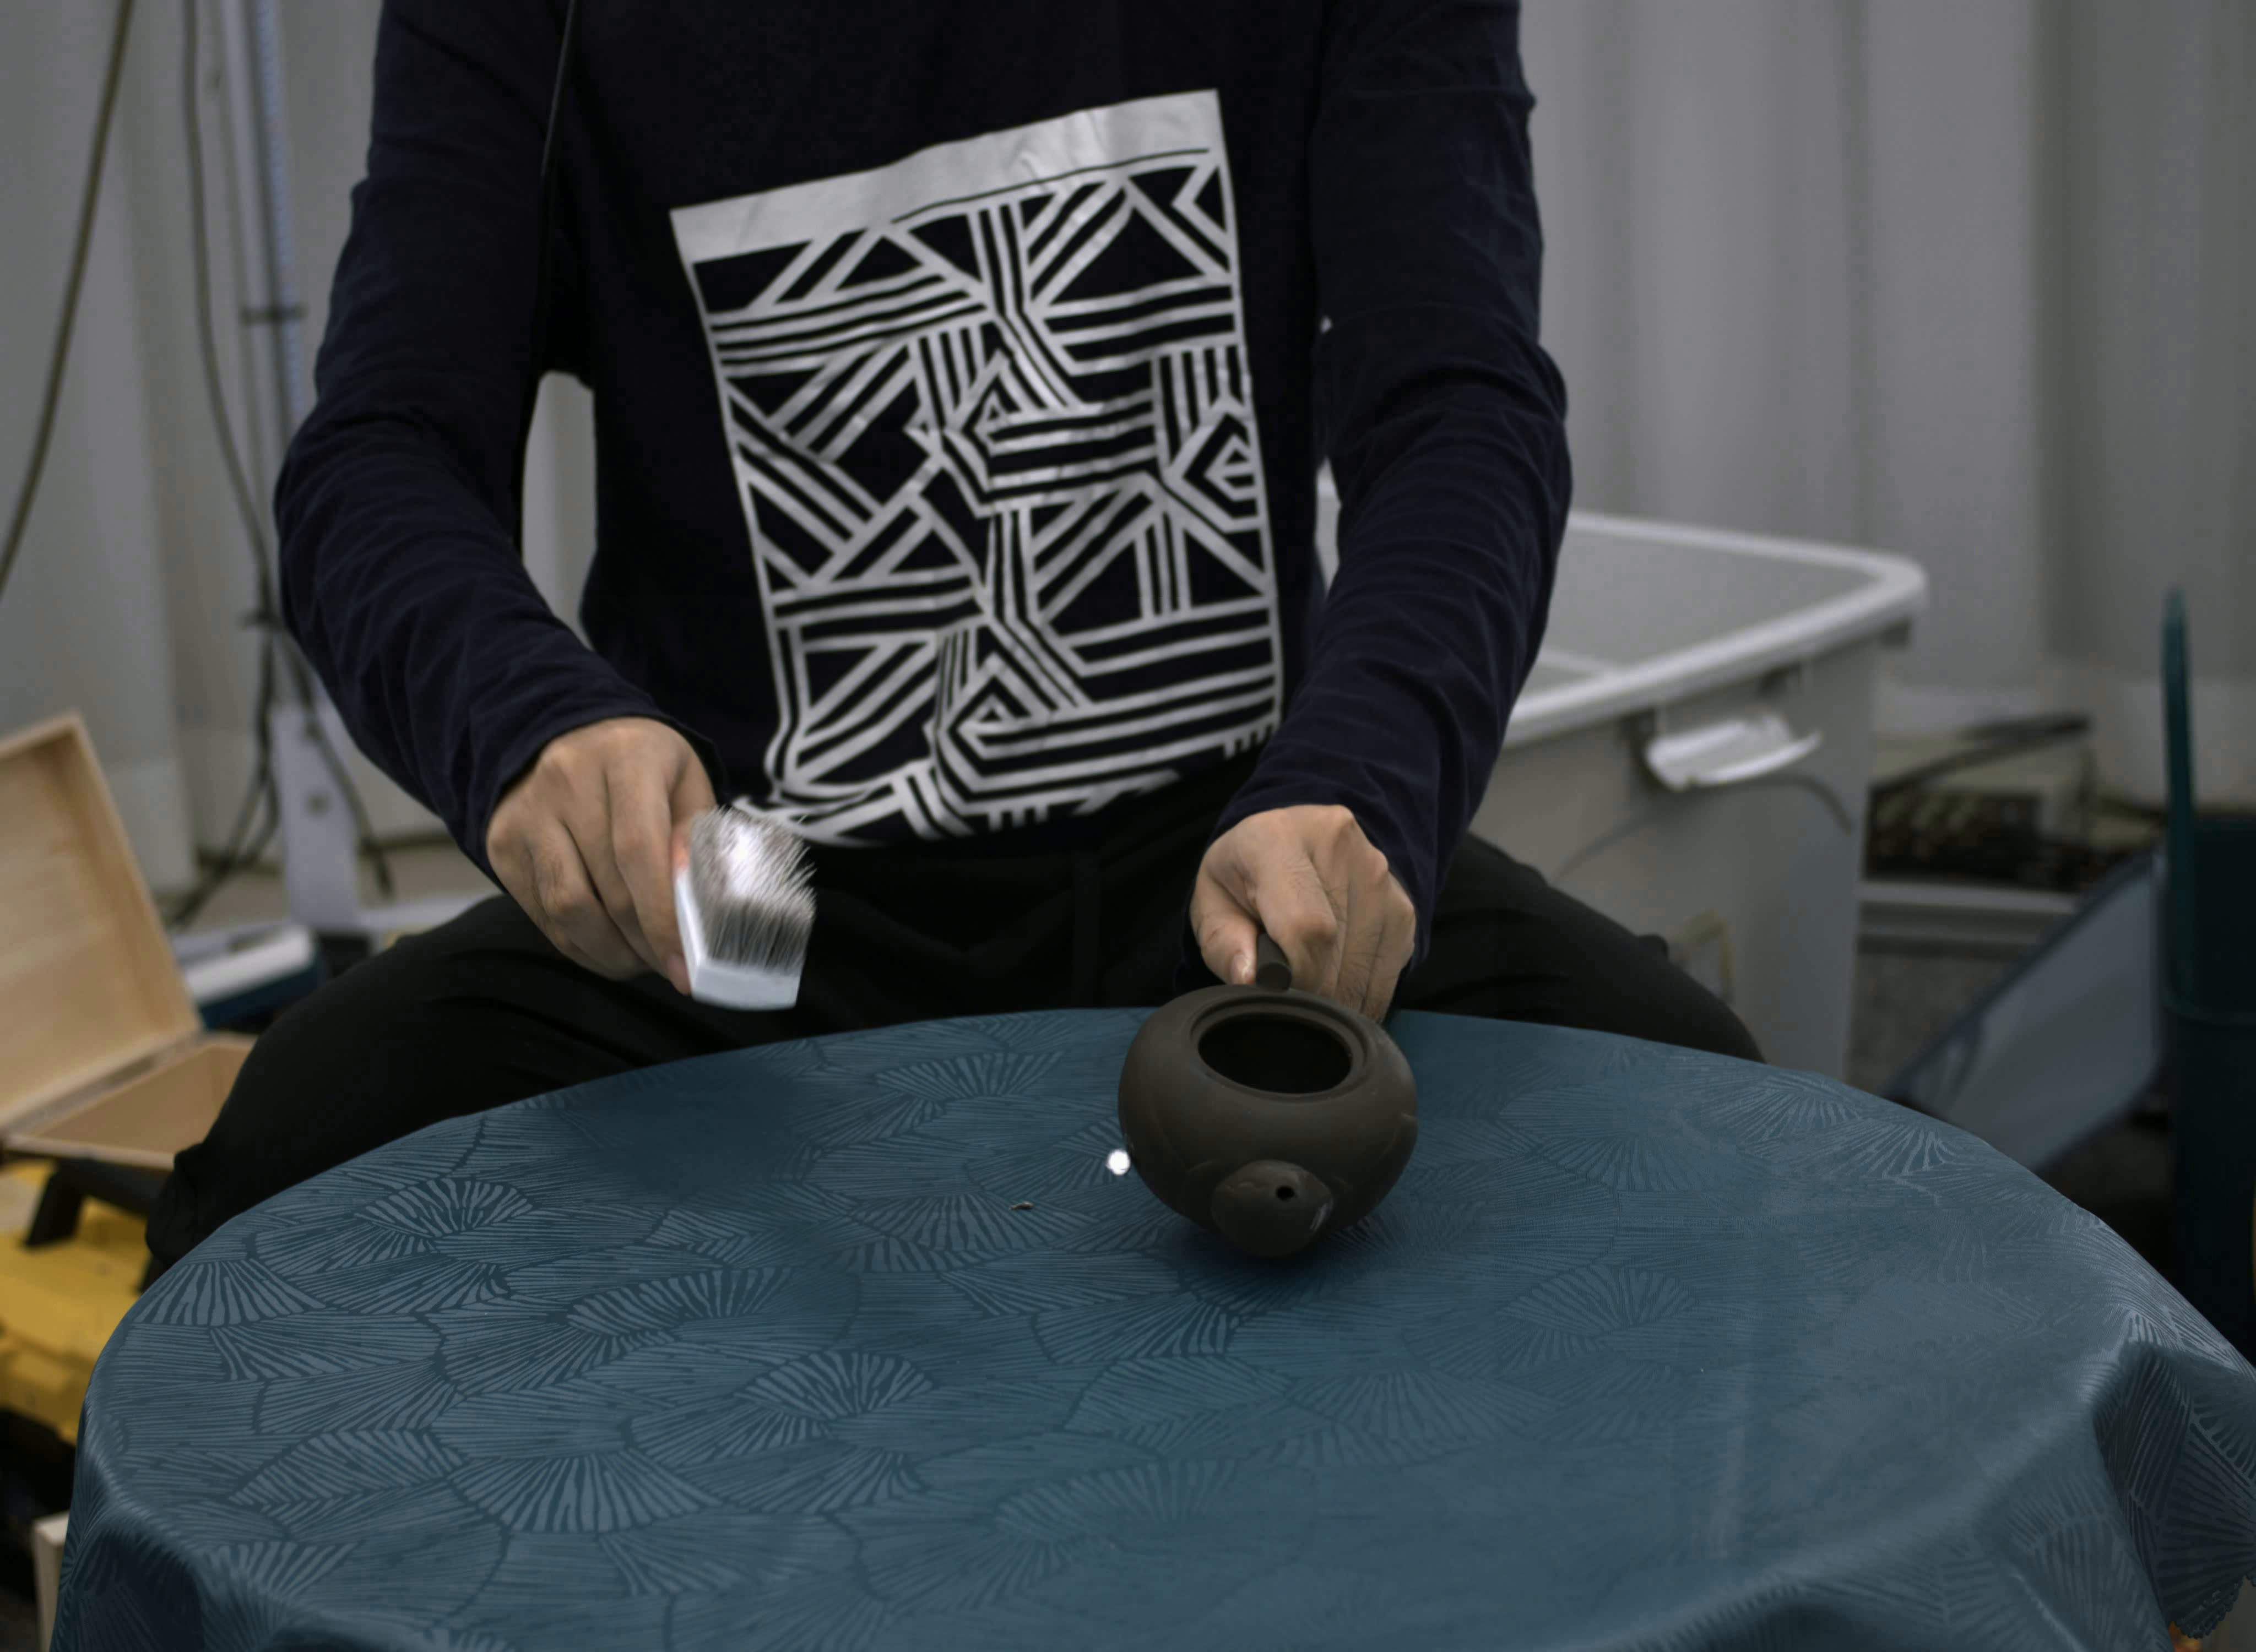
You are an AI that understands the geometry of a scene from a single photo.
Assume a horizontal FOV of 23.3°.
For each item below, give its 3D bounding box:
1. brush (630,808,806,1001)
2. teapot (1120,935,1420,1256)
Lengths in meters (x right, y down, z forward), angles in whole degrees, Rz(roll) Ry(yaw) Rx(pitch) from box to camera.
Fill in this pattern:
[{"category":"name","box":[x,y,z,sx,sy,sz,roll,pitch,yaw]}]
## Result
[{"category":"brush","box":[-0.133,0.009,1.738,0.034,0.050,0.245,6,9,-12]},{"category":"teapot","box":[0.043,0.086,1.669,0.092,0.064,0.156,6,31,-2]}]
